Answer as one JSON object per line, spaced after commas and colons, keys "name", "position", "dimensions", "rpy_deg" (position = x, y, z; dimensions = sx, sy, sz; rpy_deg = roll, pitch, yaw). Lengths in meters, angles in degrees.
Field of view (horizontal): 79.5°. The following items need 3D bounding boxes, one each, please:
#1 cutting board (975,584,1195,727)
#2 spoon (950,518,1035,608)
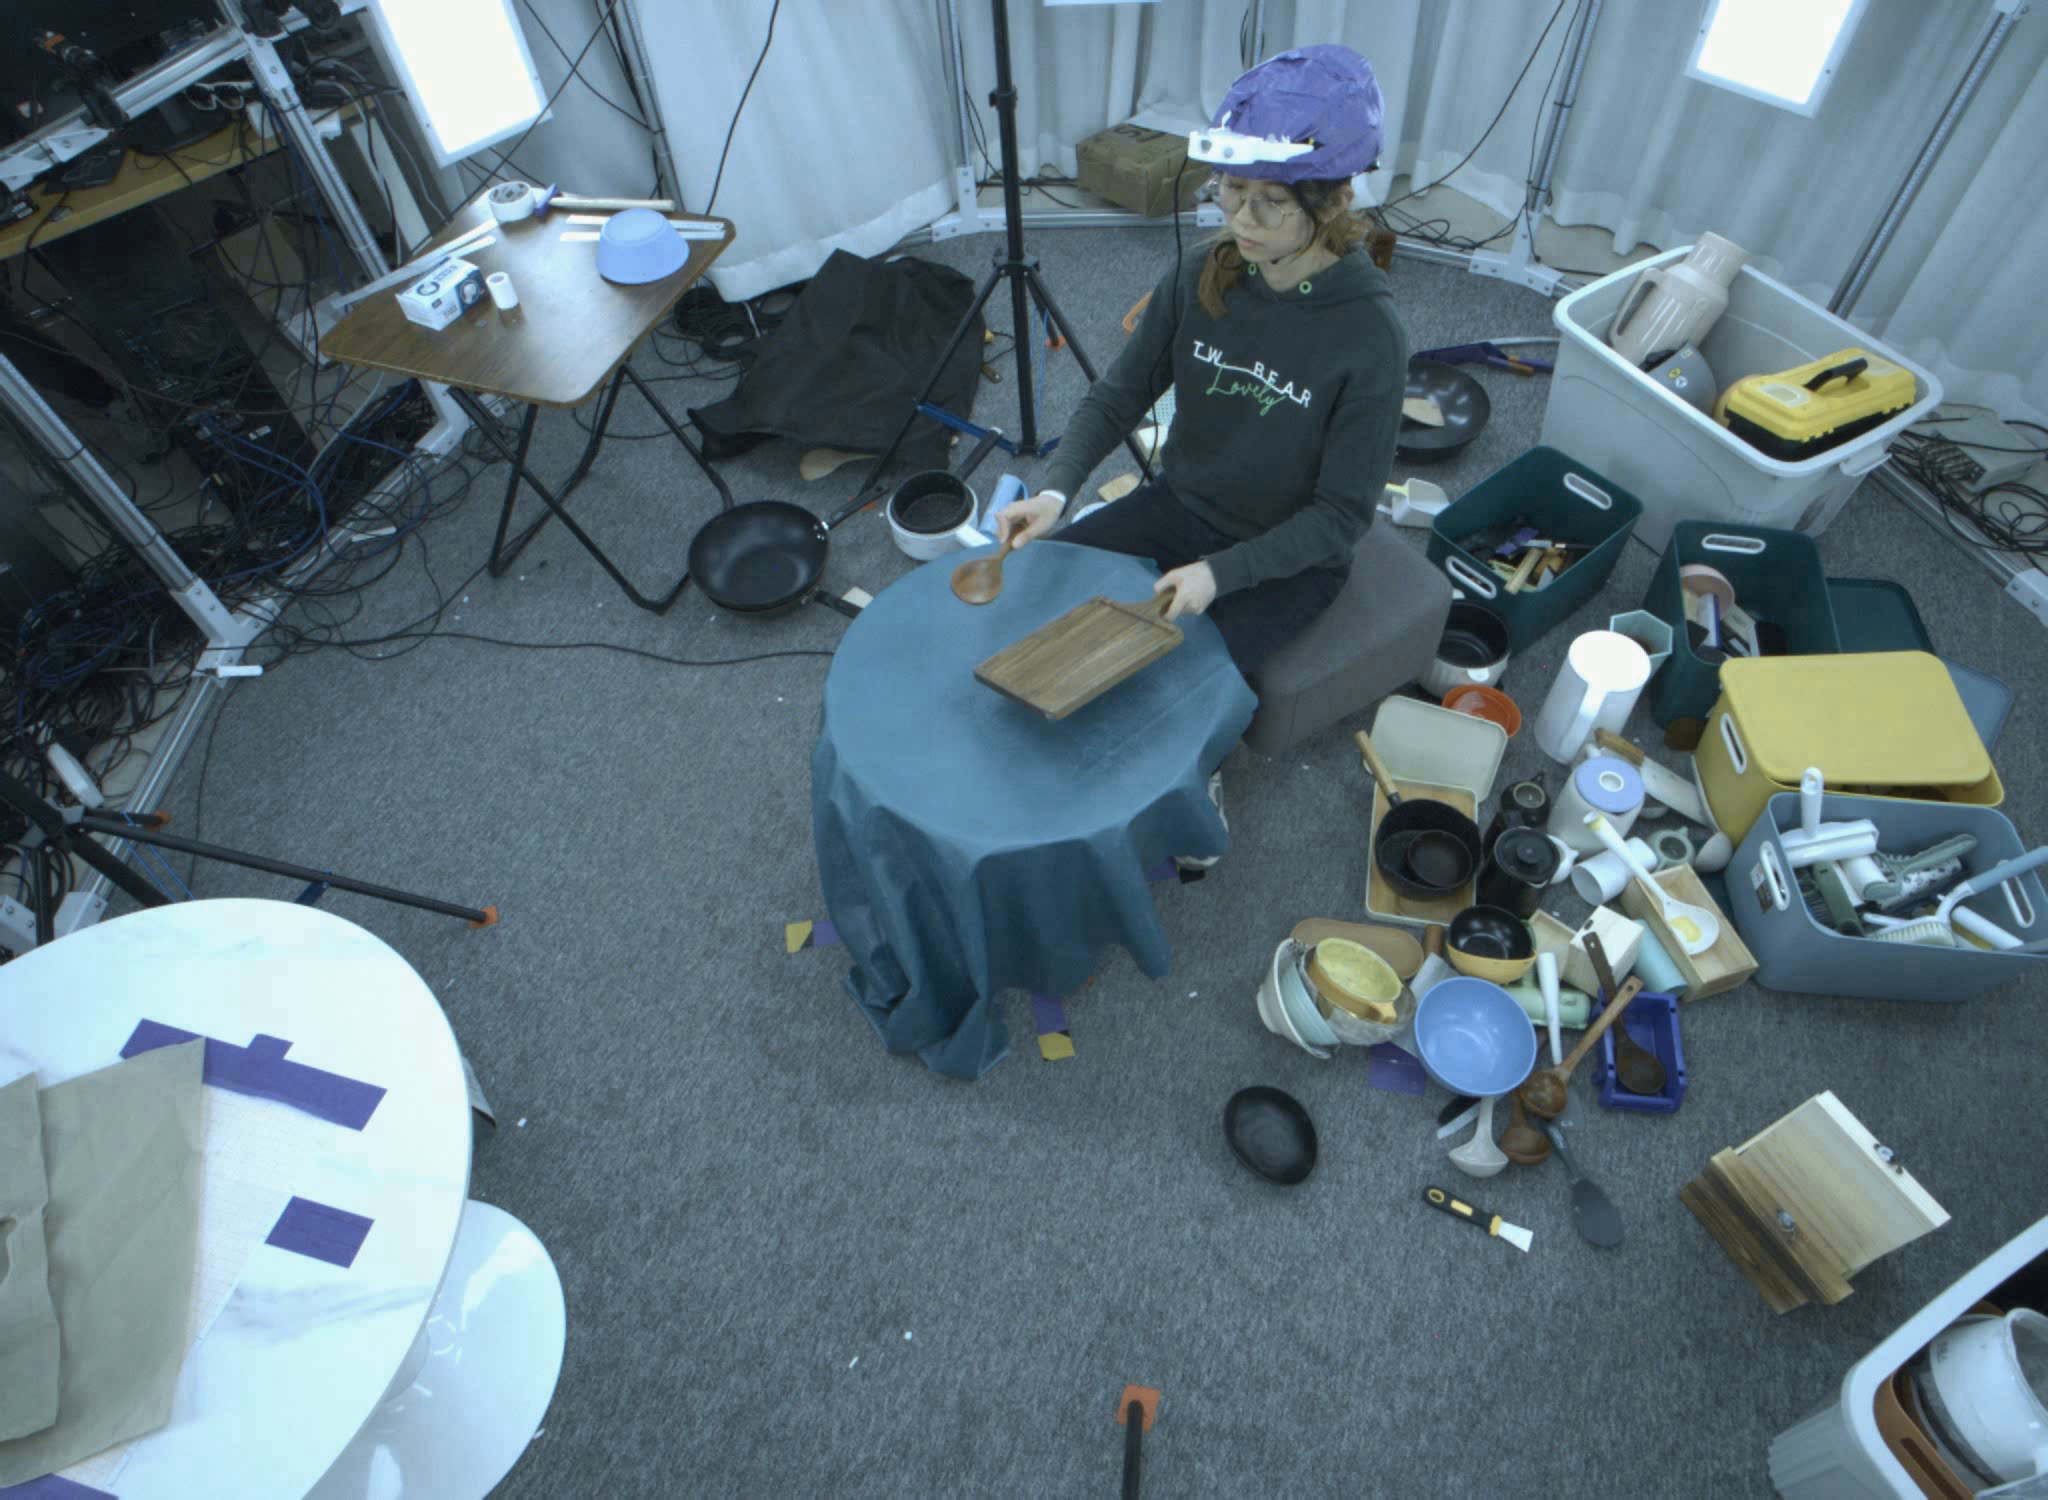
{"name": "cutting board", "position": [0.119, -0.156, 1.802], "dimensions": [0.355, 0.023, 0.196], "rpy_deg": [-32, 40, -24]}
{"name": "spoon", "position": [-0.039, -0.280, 1.822], "dimensions": [0.075, 0.017, 0.216], "rpy_deg": [31, 54, 5]}
